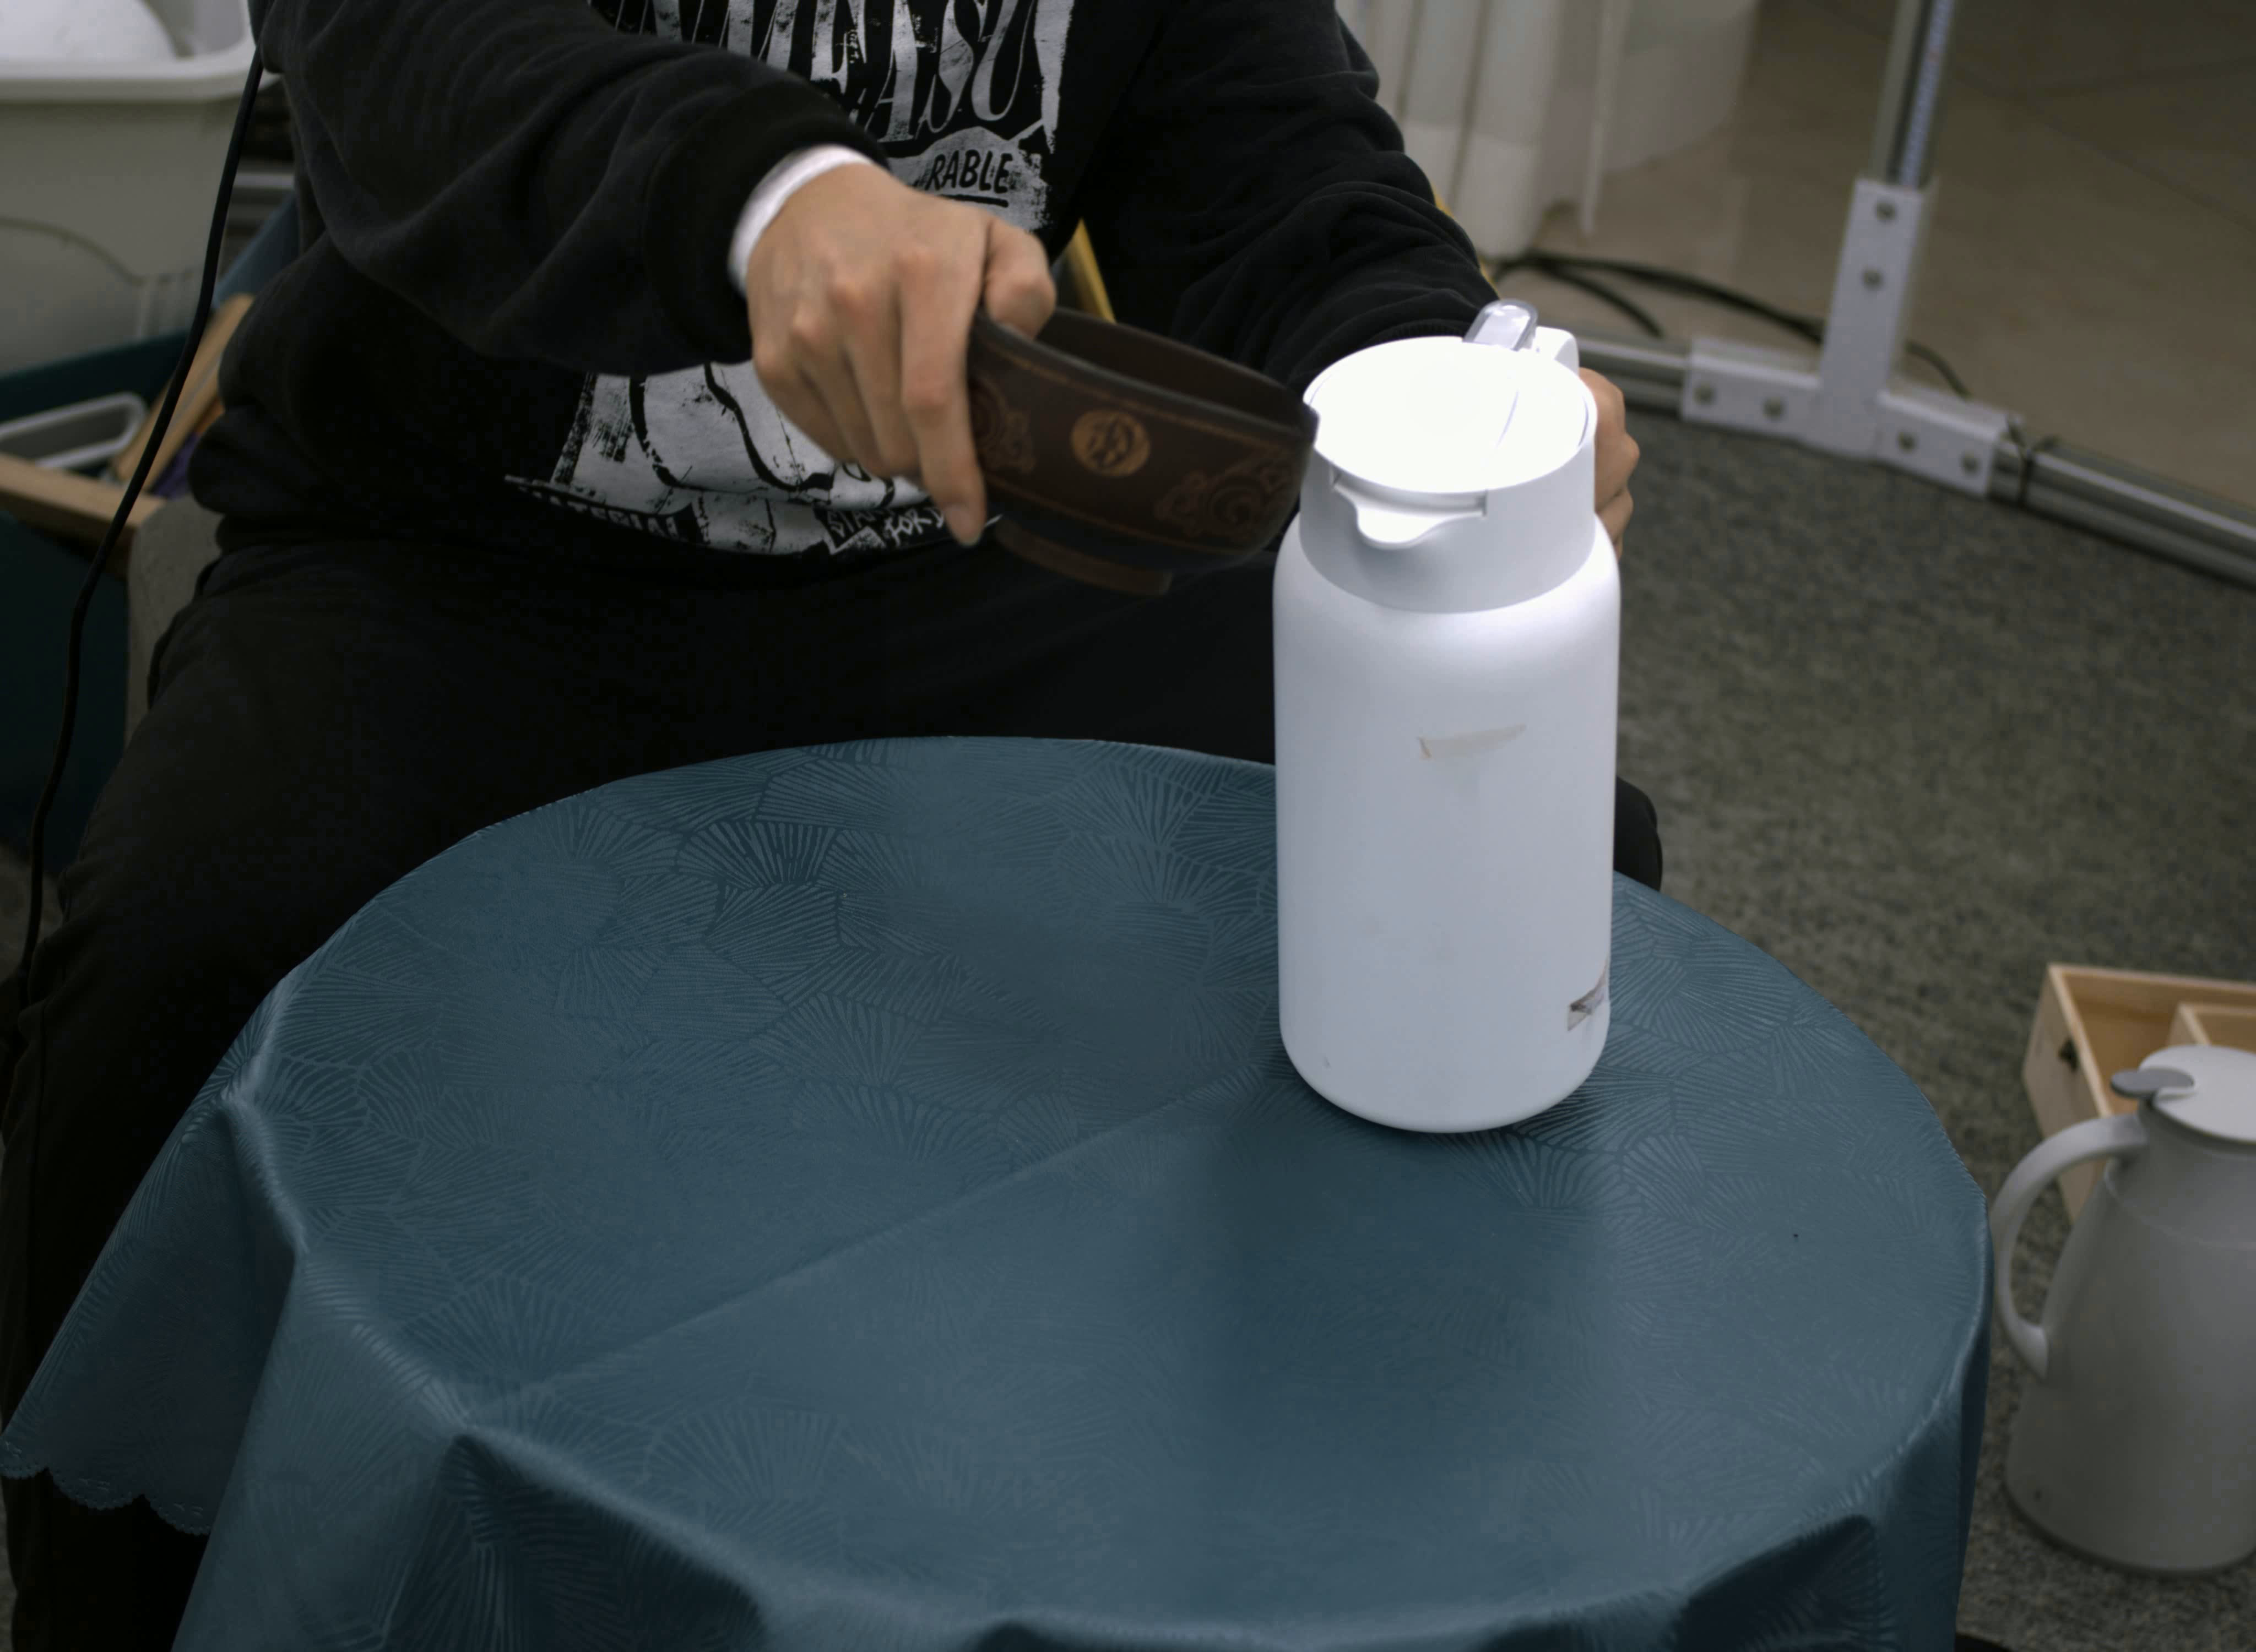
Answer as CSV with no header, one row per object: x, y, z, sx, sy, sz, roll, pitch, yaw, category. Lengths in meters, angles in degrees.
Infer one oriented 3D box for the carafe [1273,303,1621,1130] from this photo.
0.114,-0.041,1.838,0.124,0.267,0.173,9,37,19,carafe

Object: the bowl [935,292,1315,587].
-0.006,-0.117,1.670,0.117,0.070,0.118,17,12,-4,bowl
